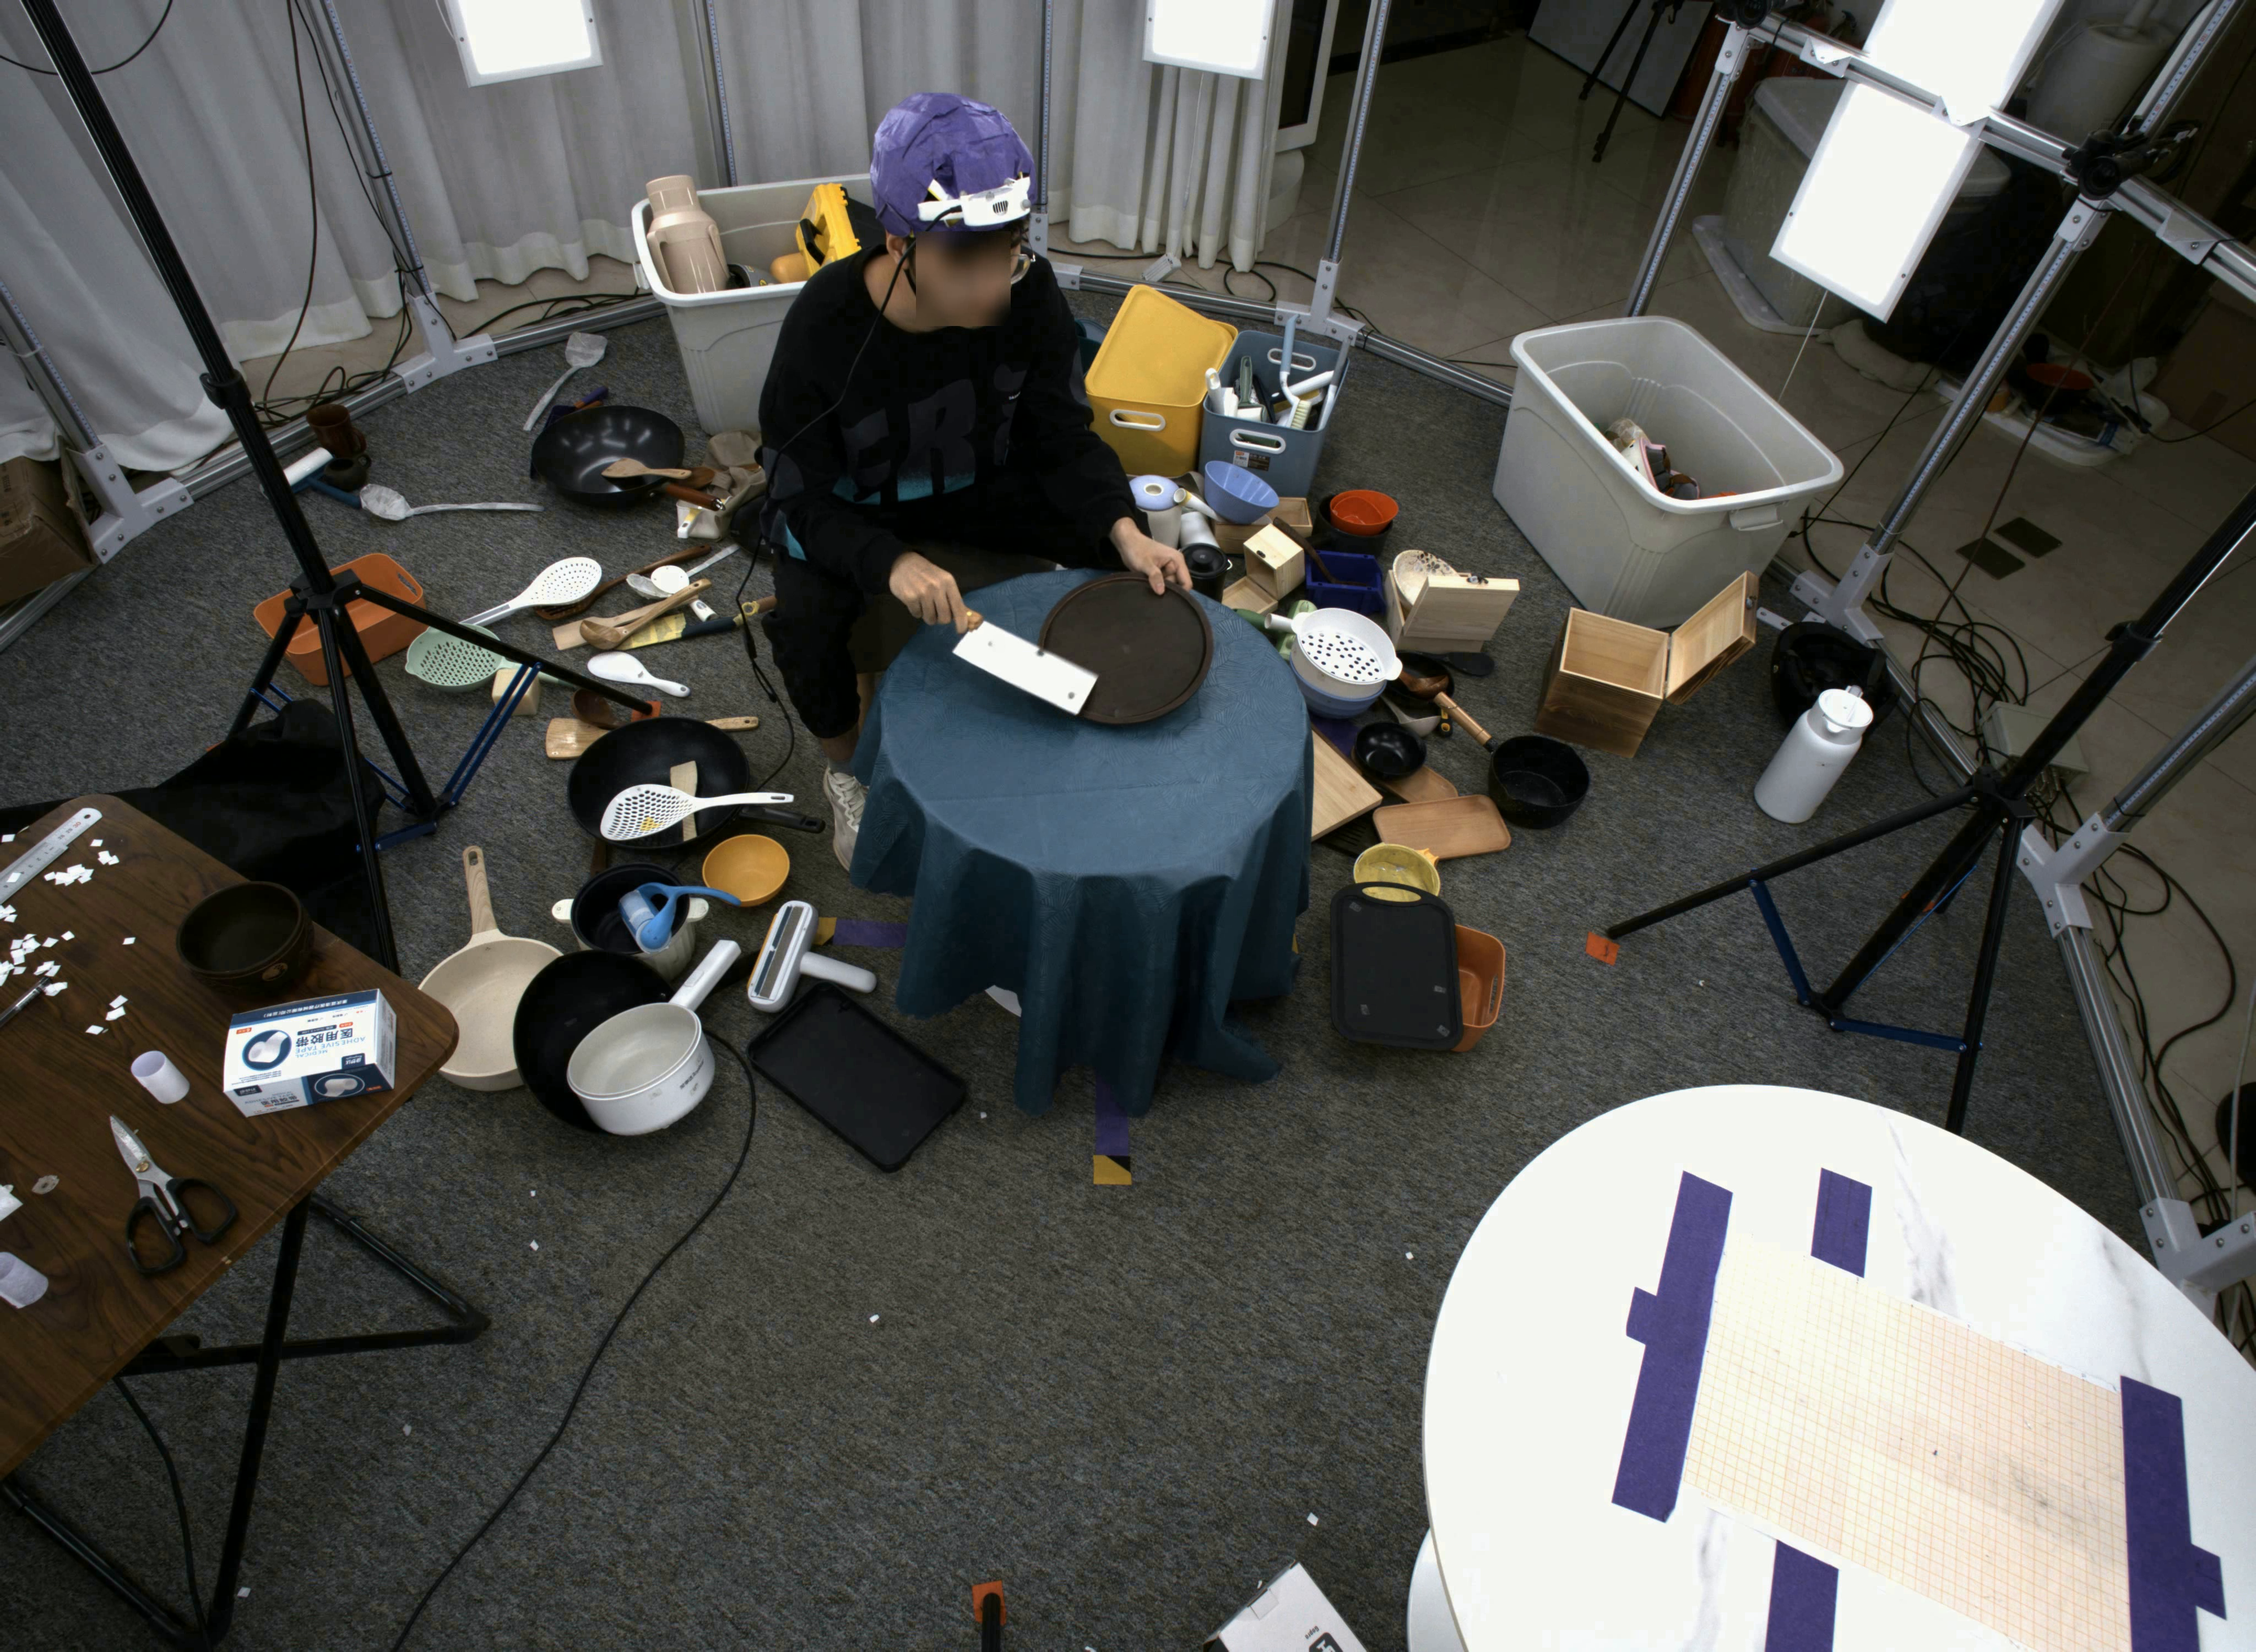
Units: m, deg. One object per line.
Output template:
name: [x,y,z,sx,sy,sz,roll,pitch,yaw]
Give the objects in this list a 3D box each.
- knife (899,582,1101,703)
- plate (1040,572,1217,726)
knife: [-0.186,-0.251,1.790,0.305,0.020,0.095,24,50,0]
plate: [0.001,-0.253,1.831,0.255,0.028,0.260,-2,62,4]
